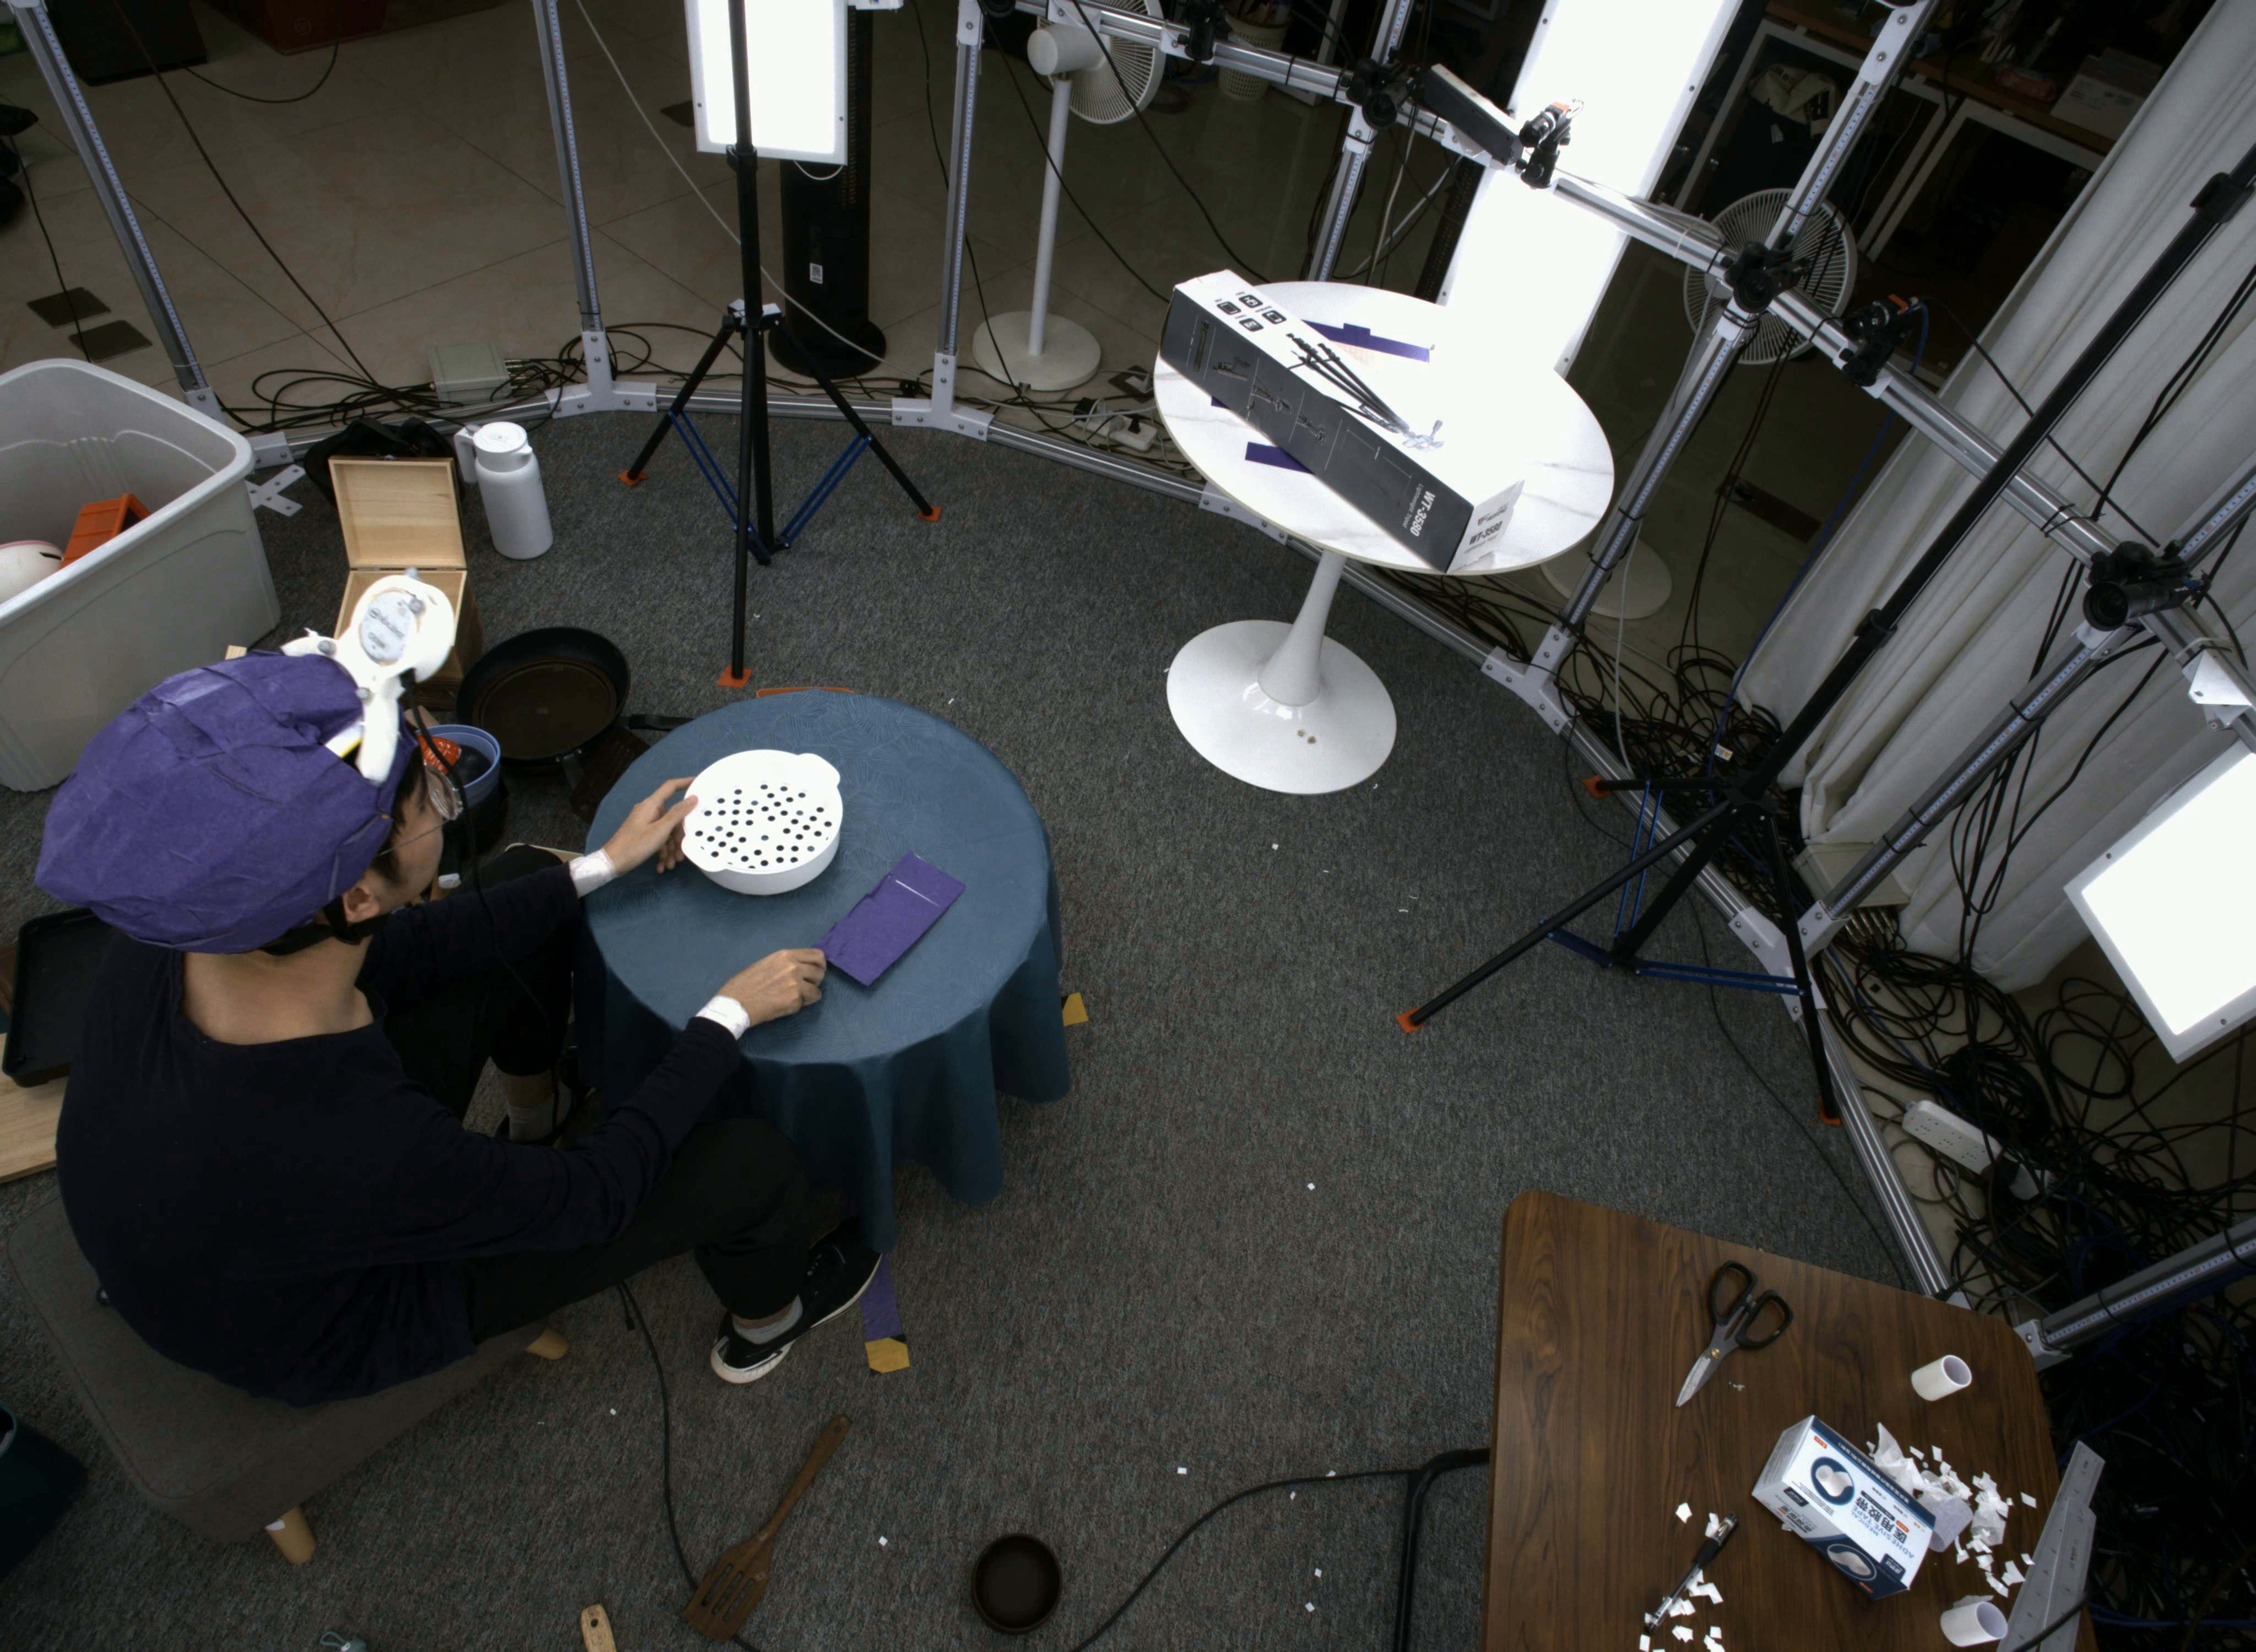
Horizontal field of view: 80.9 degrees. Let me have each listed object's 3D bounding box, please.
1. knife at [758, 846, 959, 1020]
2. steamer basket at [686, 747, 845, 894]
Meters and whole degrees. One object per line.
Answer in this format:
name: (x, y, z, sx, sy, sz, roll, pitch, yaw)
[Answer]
knife: (-0.329, 0.139, 1.633, 0.102, 0.033, 0.314, 31, 51, 10)
steamer basket: (-0.469, -0.006, 1.686, 0.197, 0.071, 0.230, 36, 57, 15)
